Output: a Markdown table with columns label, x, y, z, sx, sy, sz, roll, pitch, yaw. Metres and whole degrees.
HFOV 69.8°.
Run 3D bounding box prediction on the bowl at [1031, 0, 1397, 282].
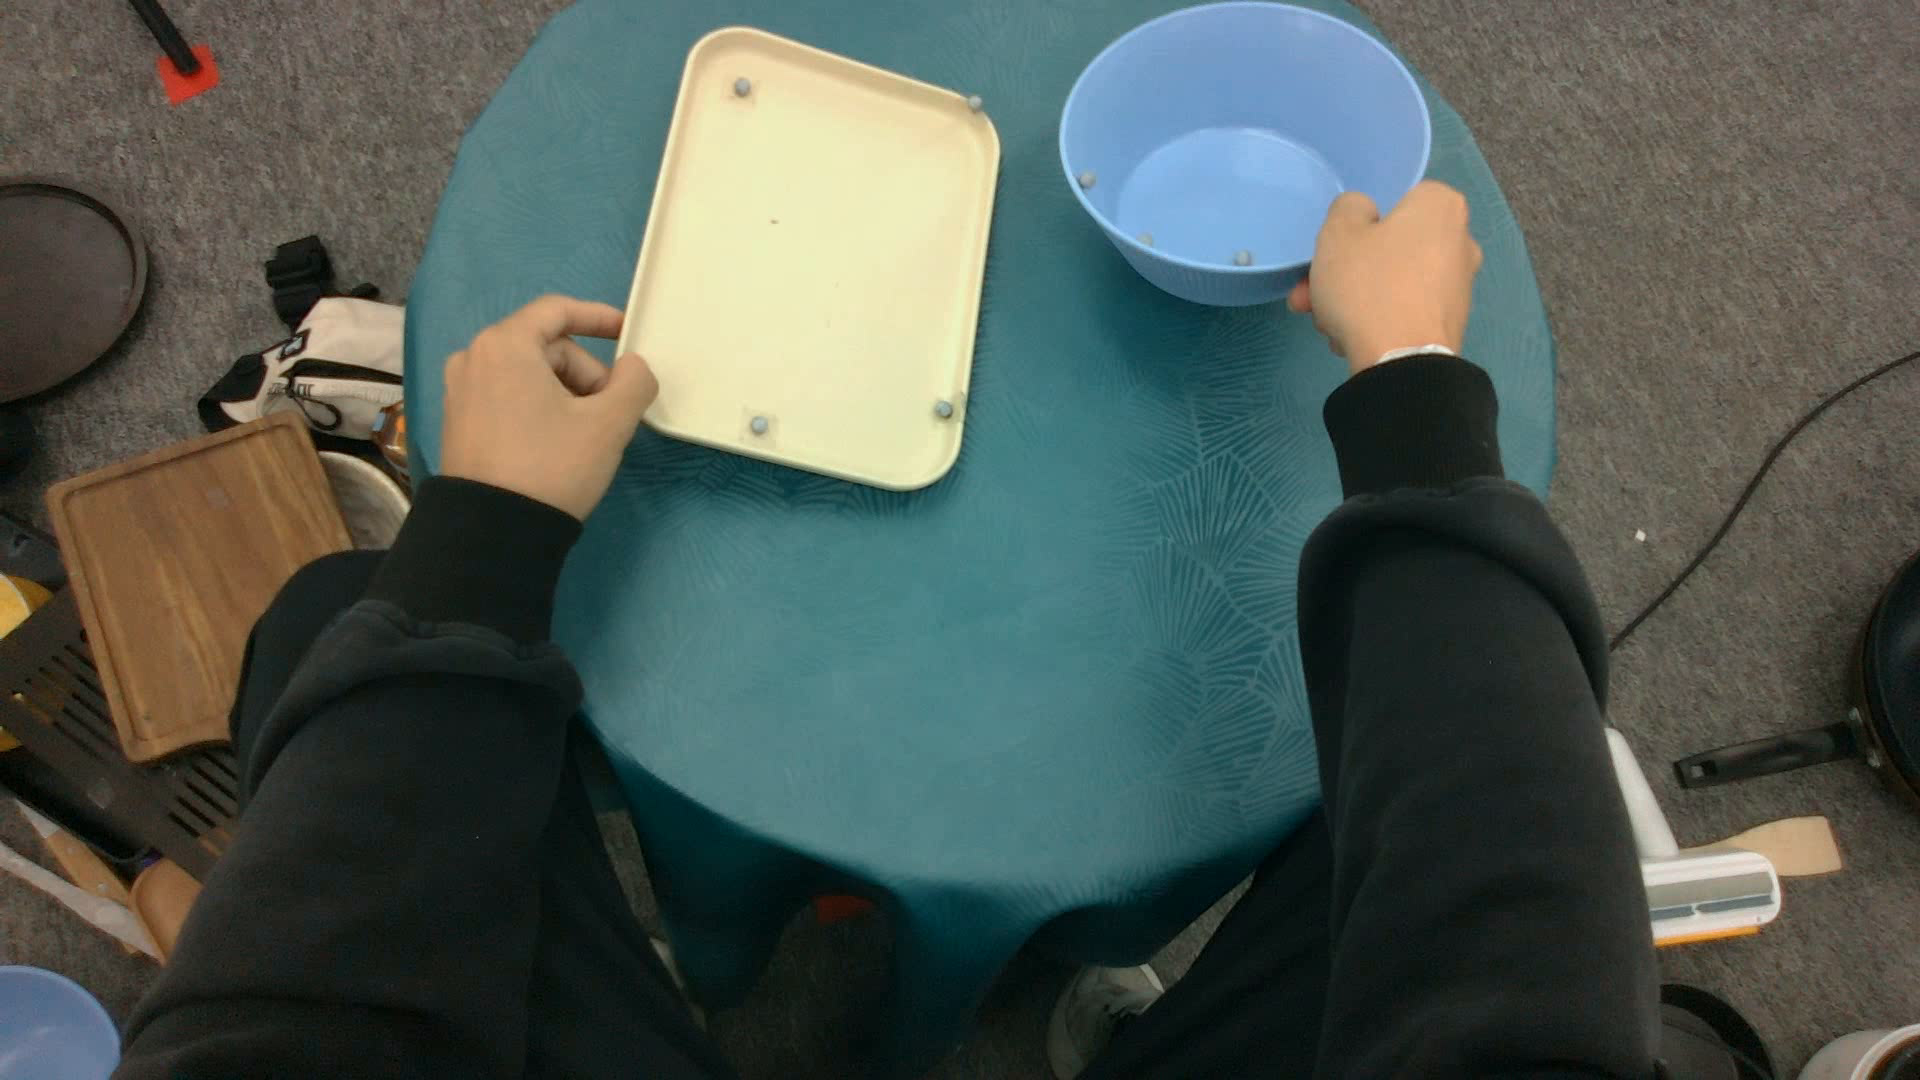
| label | x | y | z | sx | sy | sz | roll | pitch | yaw |
| --- | --- | --- | --- | --- | --- | --- | --- | --- | --- |
| bowl | 0.124 | -0.196 | 0.695 | 0.176 | 0.070 | 0.177 | -1 | 63 | 2 |

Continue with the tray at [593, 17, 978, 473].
| label | x | y | z | sx | sy | sz | roll | pitch | yaw |
| --- | --- | --- | --- | --- | --- | --- | --- | --- | --- |
| tray | -0.082 | -0.152 | 0.699 | 0.171 | 0.017 | 0.240 | 13 | 67 | -13 |
